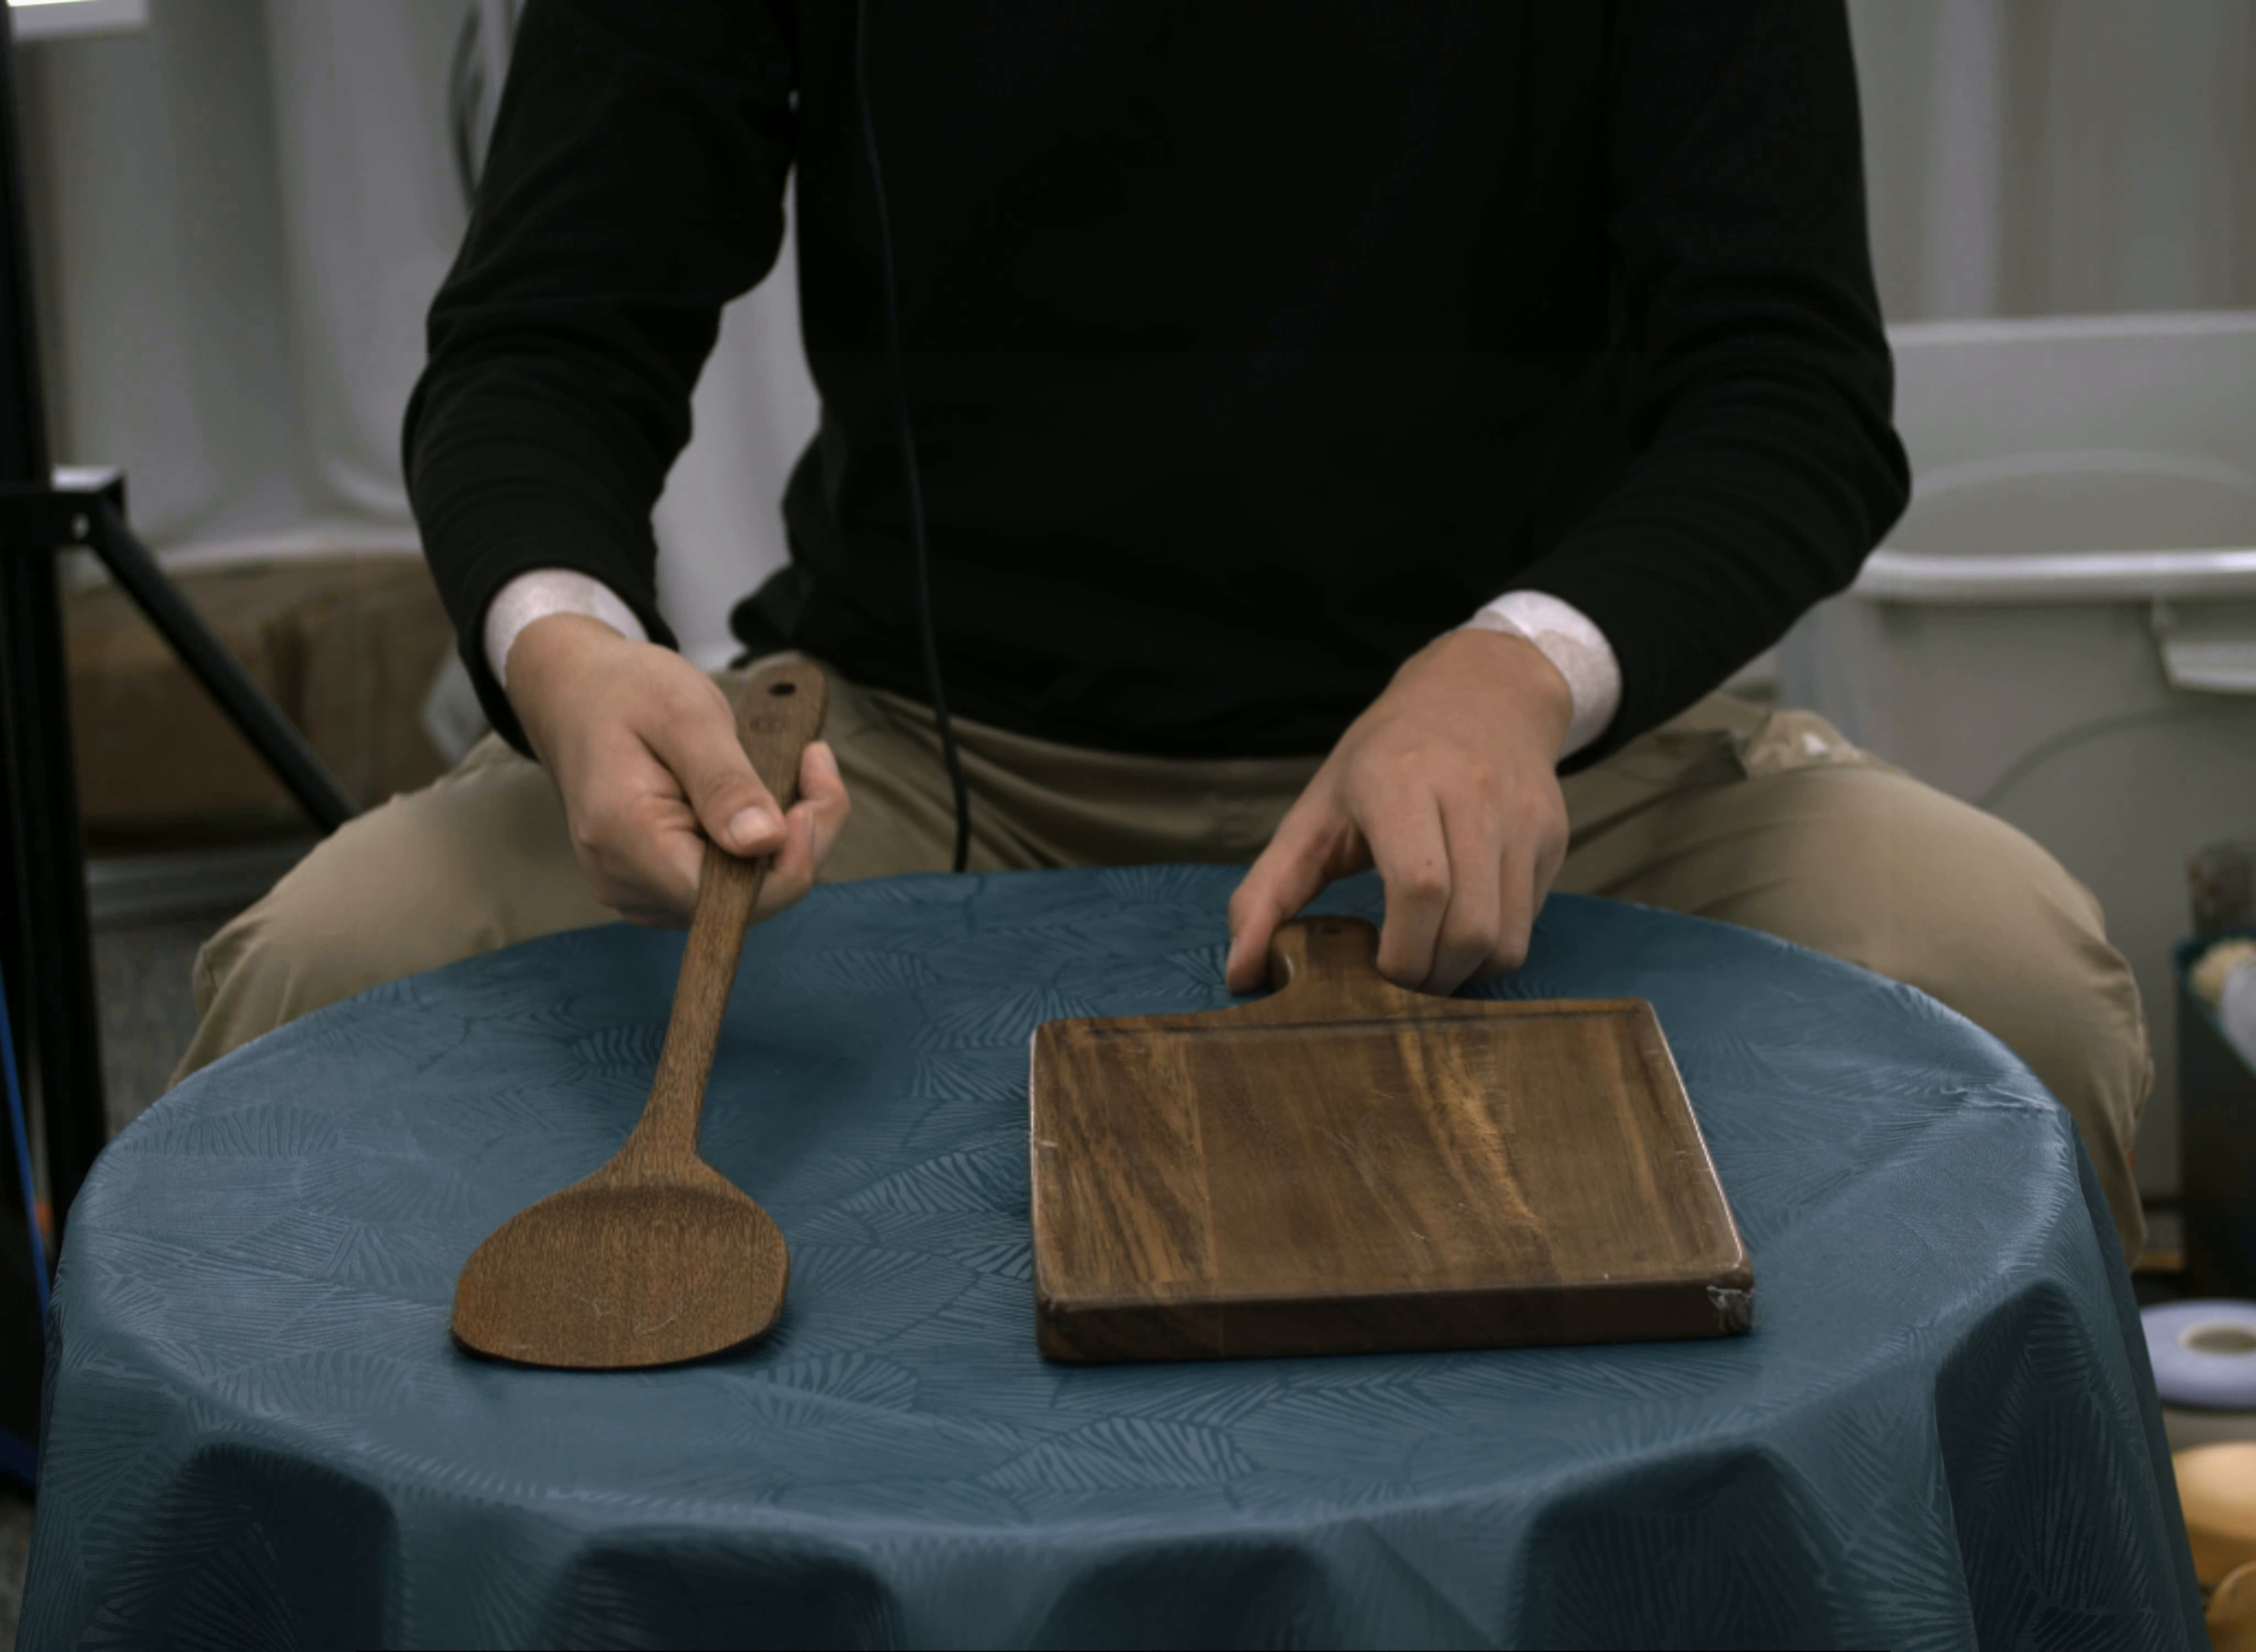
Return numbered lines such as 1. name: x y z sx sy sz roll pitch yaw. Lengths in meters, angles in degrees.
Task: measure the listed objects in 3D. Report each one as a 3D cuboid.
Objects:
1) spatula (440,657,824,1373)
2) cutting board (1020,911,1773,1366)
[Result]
1. spatula: -0.128 0.046 1.605 0.096 0.015 0.388 -2 32 7
2. cutting board: 0.069 0.086 1.586 0.200 0.023 0.354 -2 16 -1
